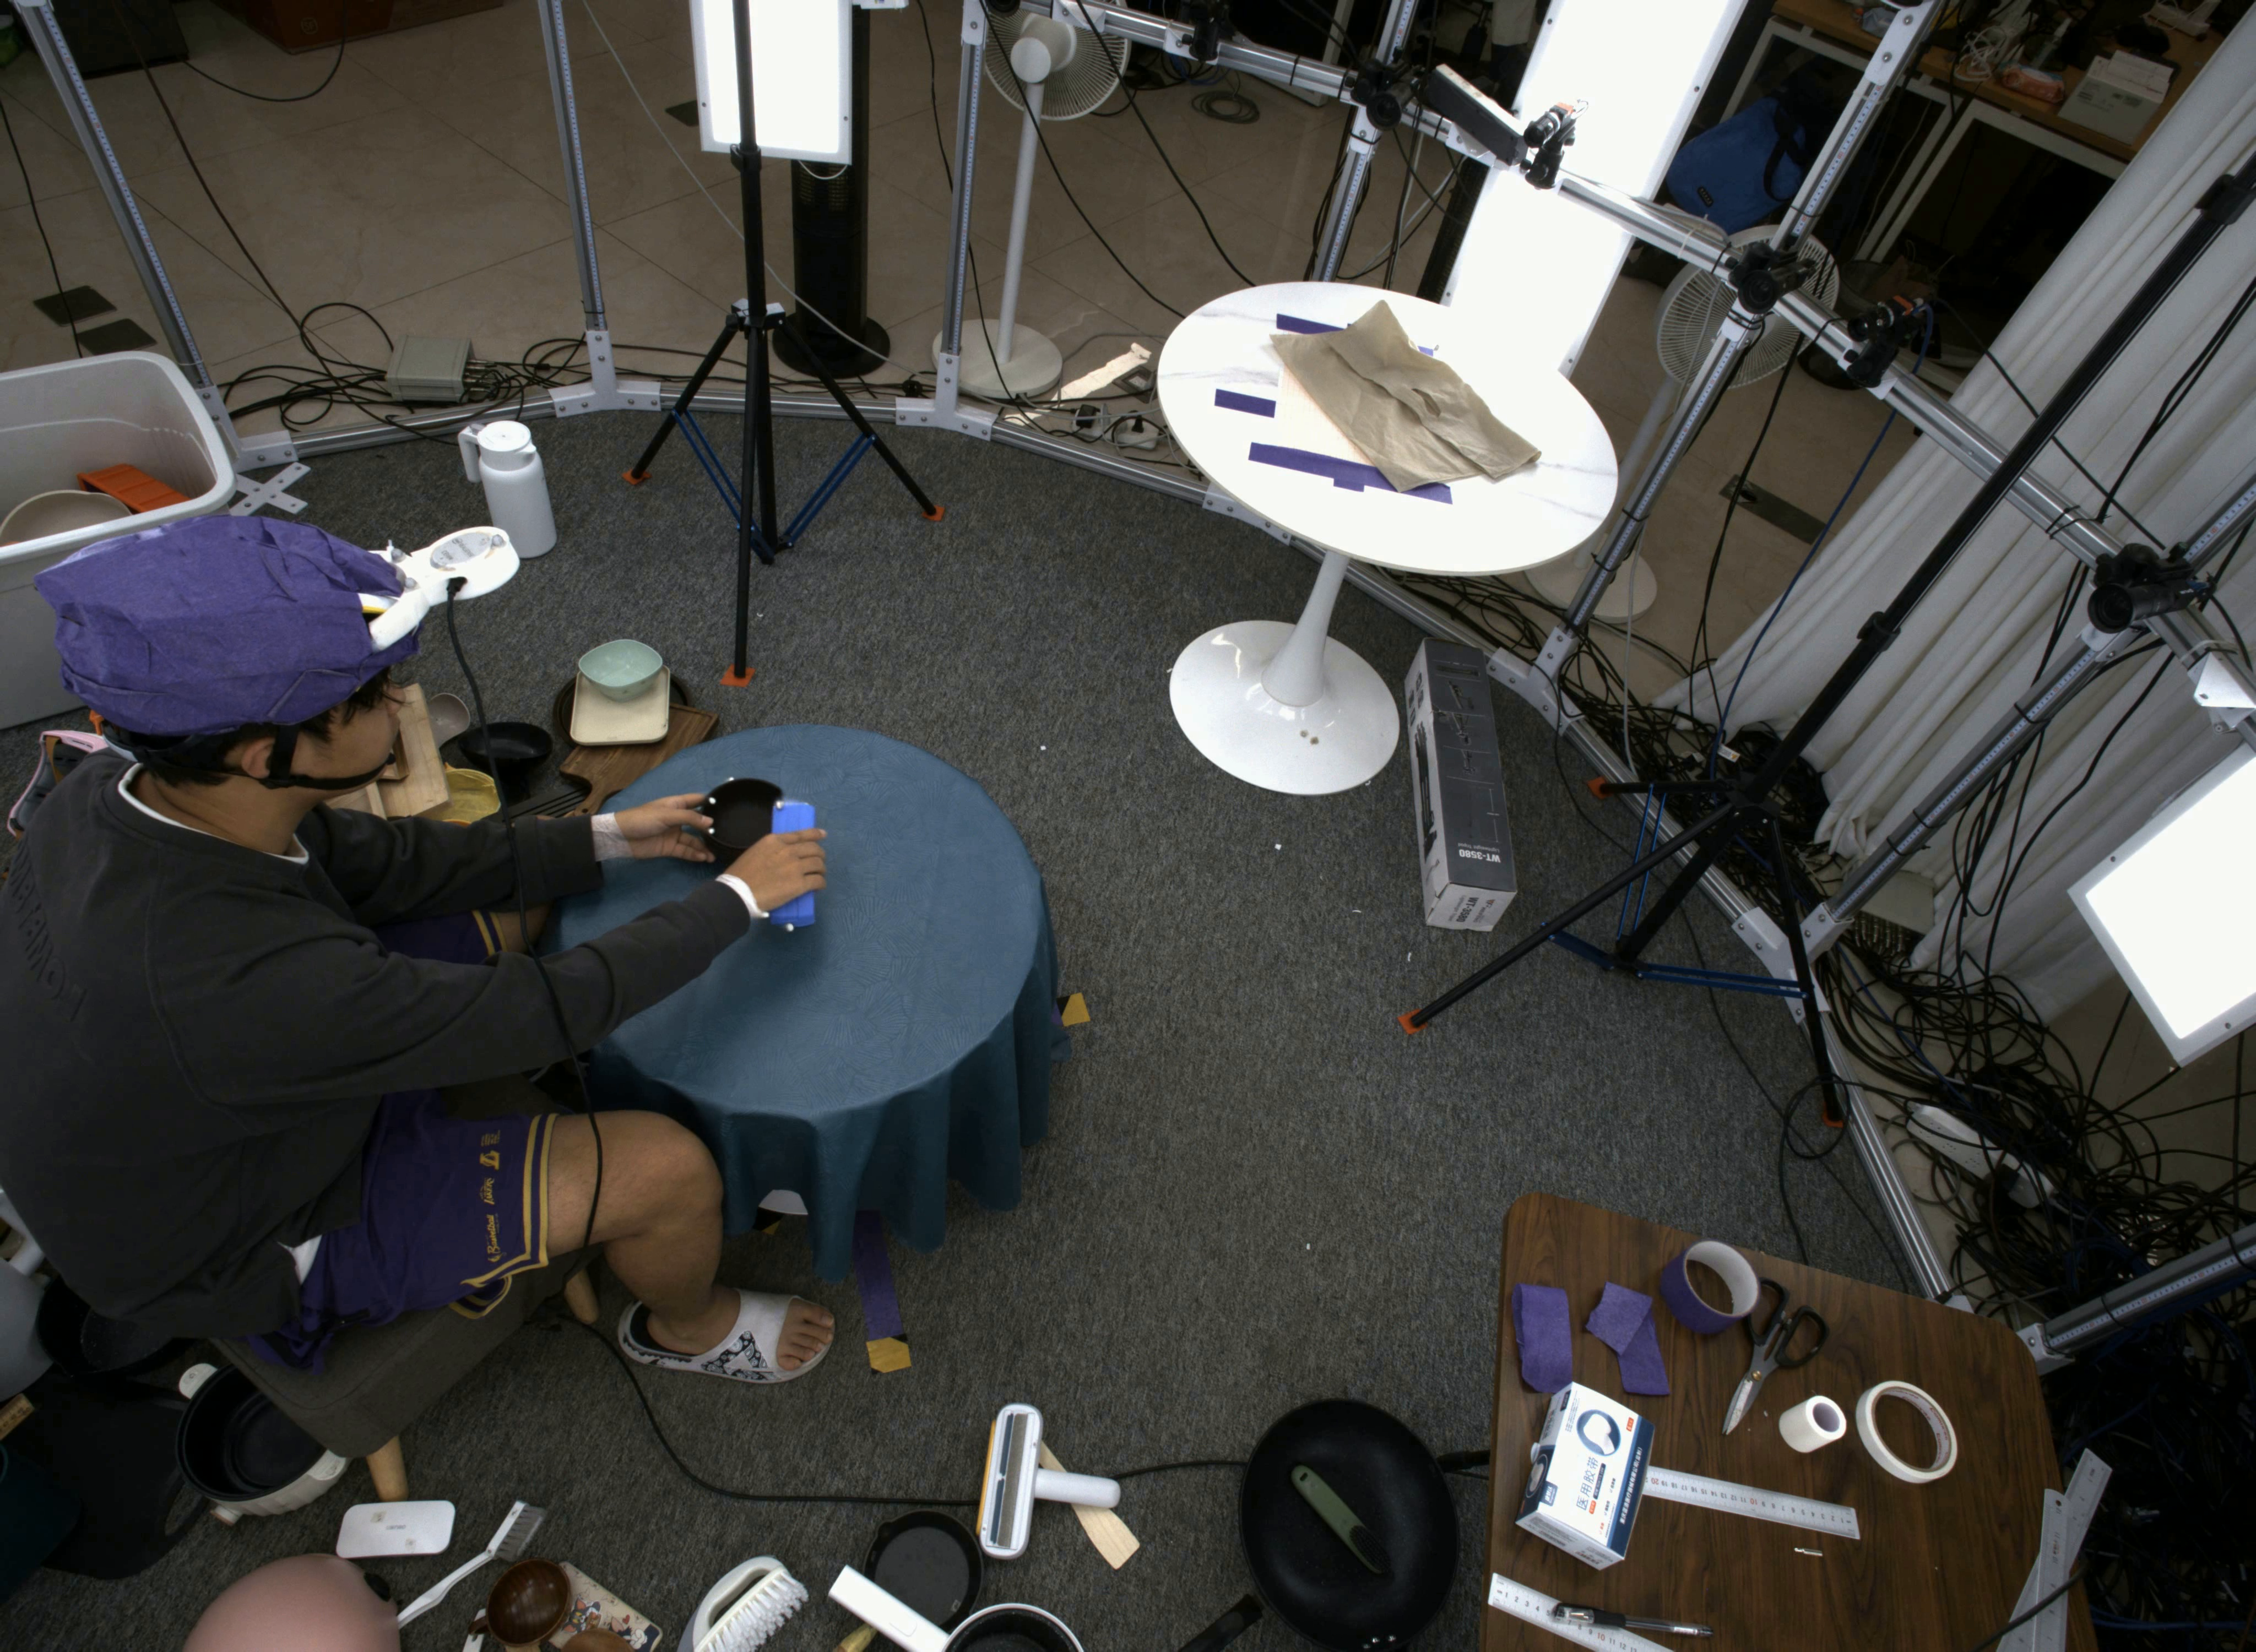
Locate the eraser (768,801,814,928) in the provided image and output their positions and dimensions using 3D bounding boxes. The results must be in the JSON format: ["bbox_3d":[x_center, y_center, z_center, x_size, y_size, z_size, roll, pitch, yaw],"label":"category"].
[{"bbox_3d":[-0.414,0.040,1.591,0.054,0.048,0.159,0,61,-16],"label":"eraser"}]

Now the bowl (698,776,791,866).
[{"bbox_3d":[-0.489,0.000,1.664,0.117,0.071,0.116,7,54,-8],"label":"bowl"}]
